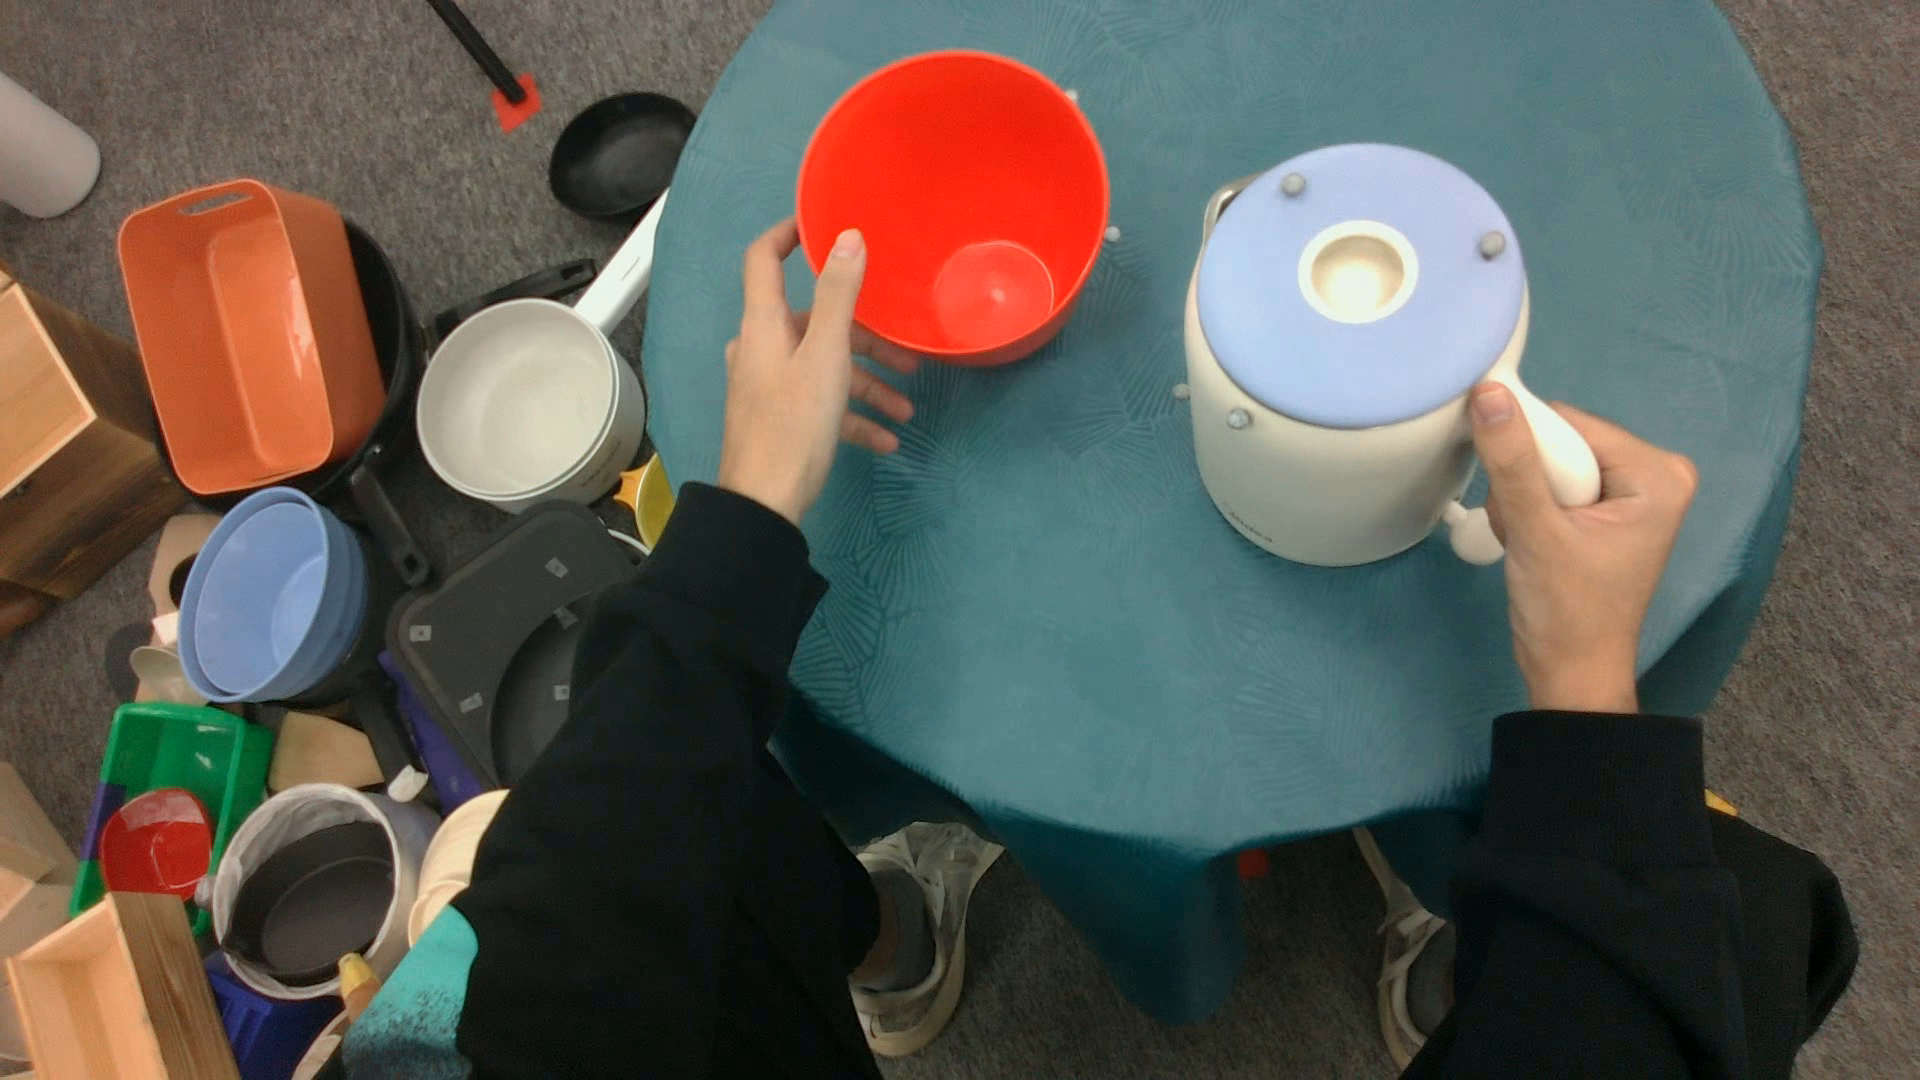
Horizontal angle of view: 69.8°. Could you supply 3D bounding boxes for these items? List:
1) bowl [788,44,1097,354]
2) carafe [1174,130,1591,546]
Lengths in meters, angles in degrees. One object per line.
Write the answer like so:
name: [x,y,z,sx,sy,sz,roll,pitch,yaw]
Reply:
bowl: [-0.001,-0.156,0.691,0.148,0.104,0.148,-3,73,9]
carafe: [0.179,-0.065,0.593,0.191,0.182,0.132,38,84,17]
